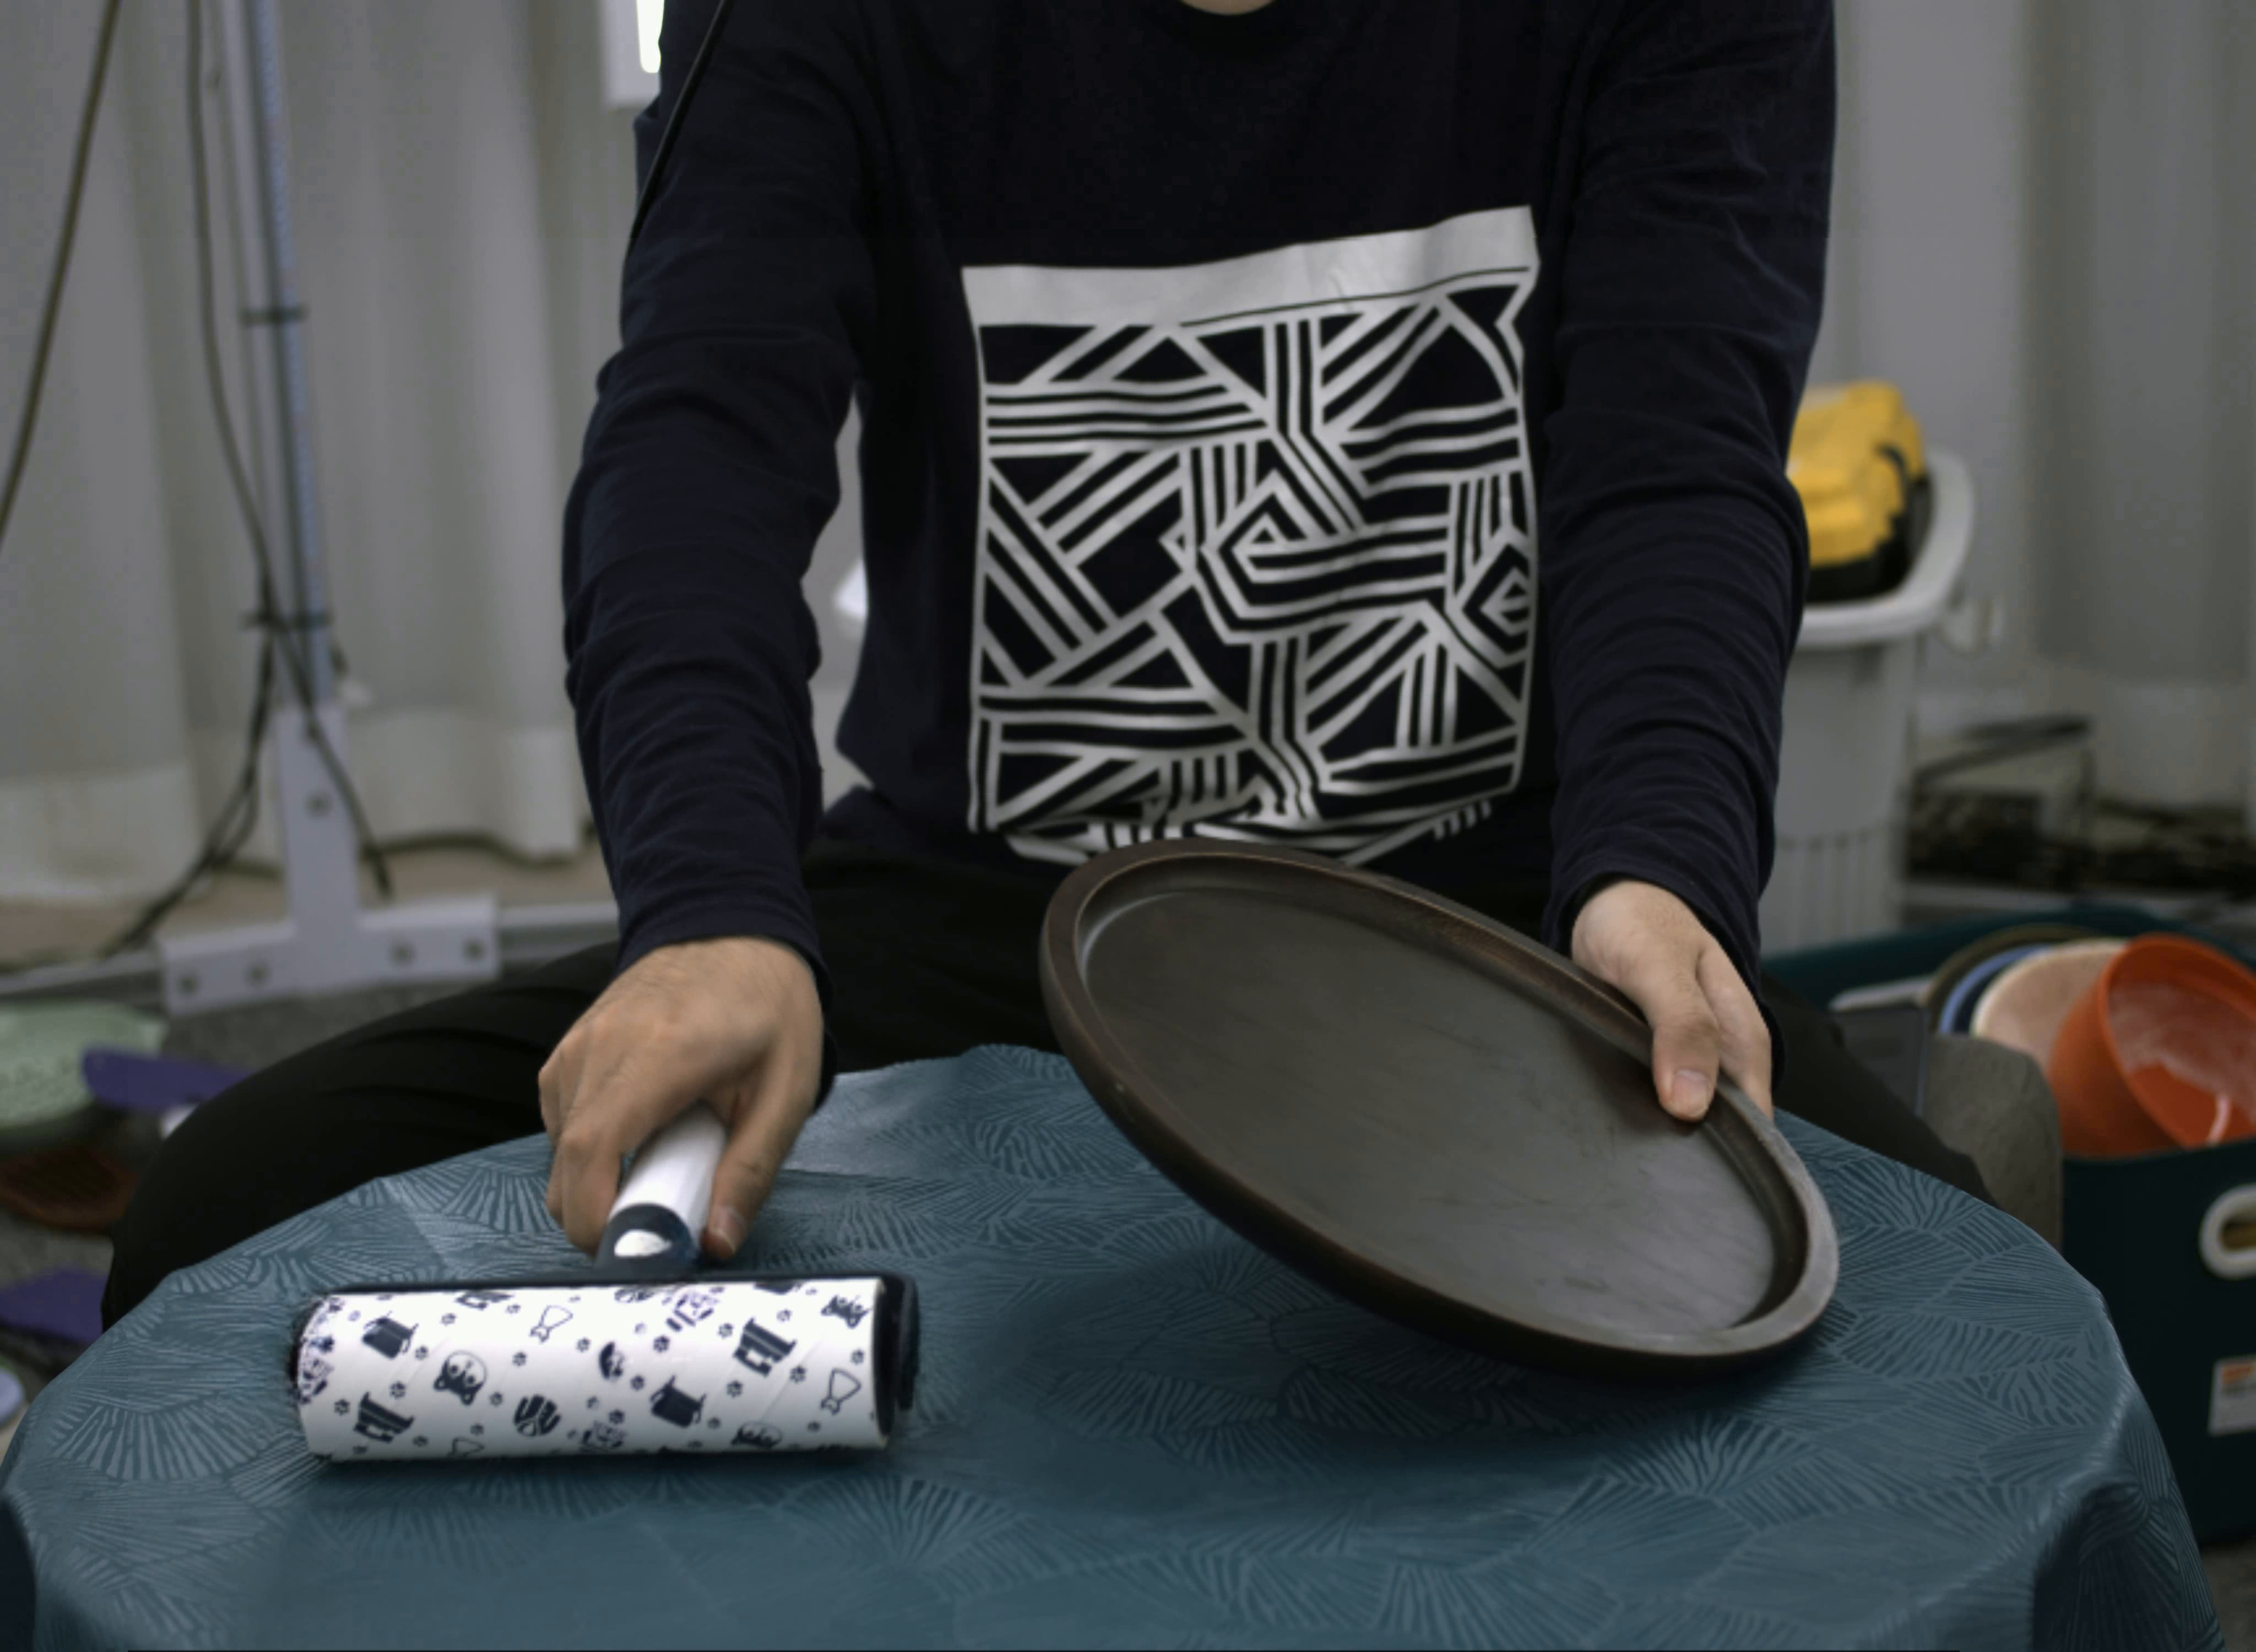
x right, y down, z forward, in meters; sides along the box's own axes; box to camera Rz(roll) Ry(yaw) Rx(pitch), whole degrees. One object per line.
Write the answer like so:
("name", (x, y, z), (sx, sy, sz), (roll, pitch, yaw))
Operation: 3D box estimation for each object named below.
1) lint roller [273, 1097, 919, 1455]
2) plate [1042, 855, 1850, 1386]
("lint roller", (-0.140, 0.121, 1.610), (0.176, 0.050, 0.249), (-3, 16, 5))
("plate", (0.090, 0.083, 1.578), (0.253, 0.029, 0.257), (22, 22, -9))
